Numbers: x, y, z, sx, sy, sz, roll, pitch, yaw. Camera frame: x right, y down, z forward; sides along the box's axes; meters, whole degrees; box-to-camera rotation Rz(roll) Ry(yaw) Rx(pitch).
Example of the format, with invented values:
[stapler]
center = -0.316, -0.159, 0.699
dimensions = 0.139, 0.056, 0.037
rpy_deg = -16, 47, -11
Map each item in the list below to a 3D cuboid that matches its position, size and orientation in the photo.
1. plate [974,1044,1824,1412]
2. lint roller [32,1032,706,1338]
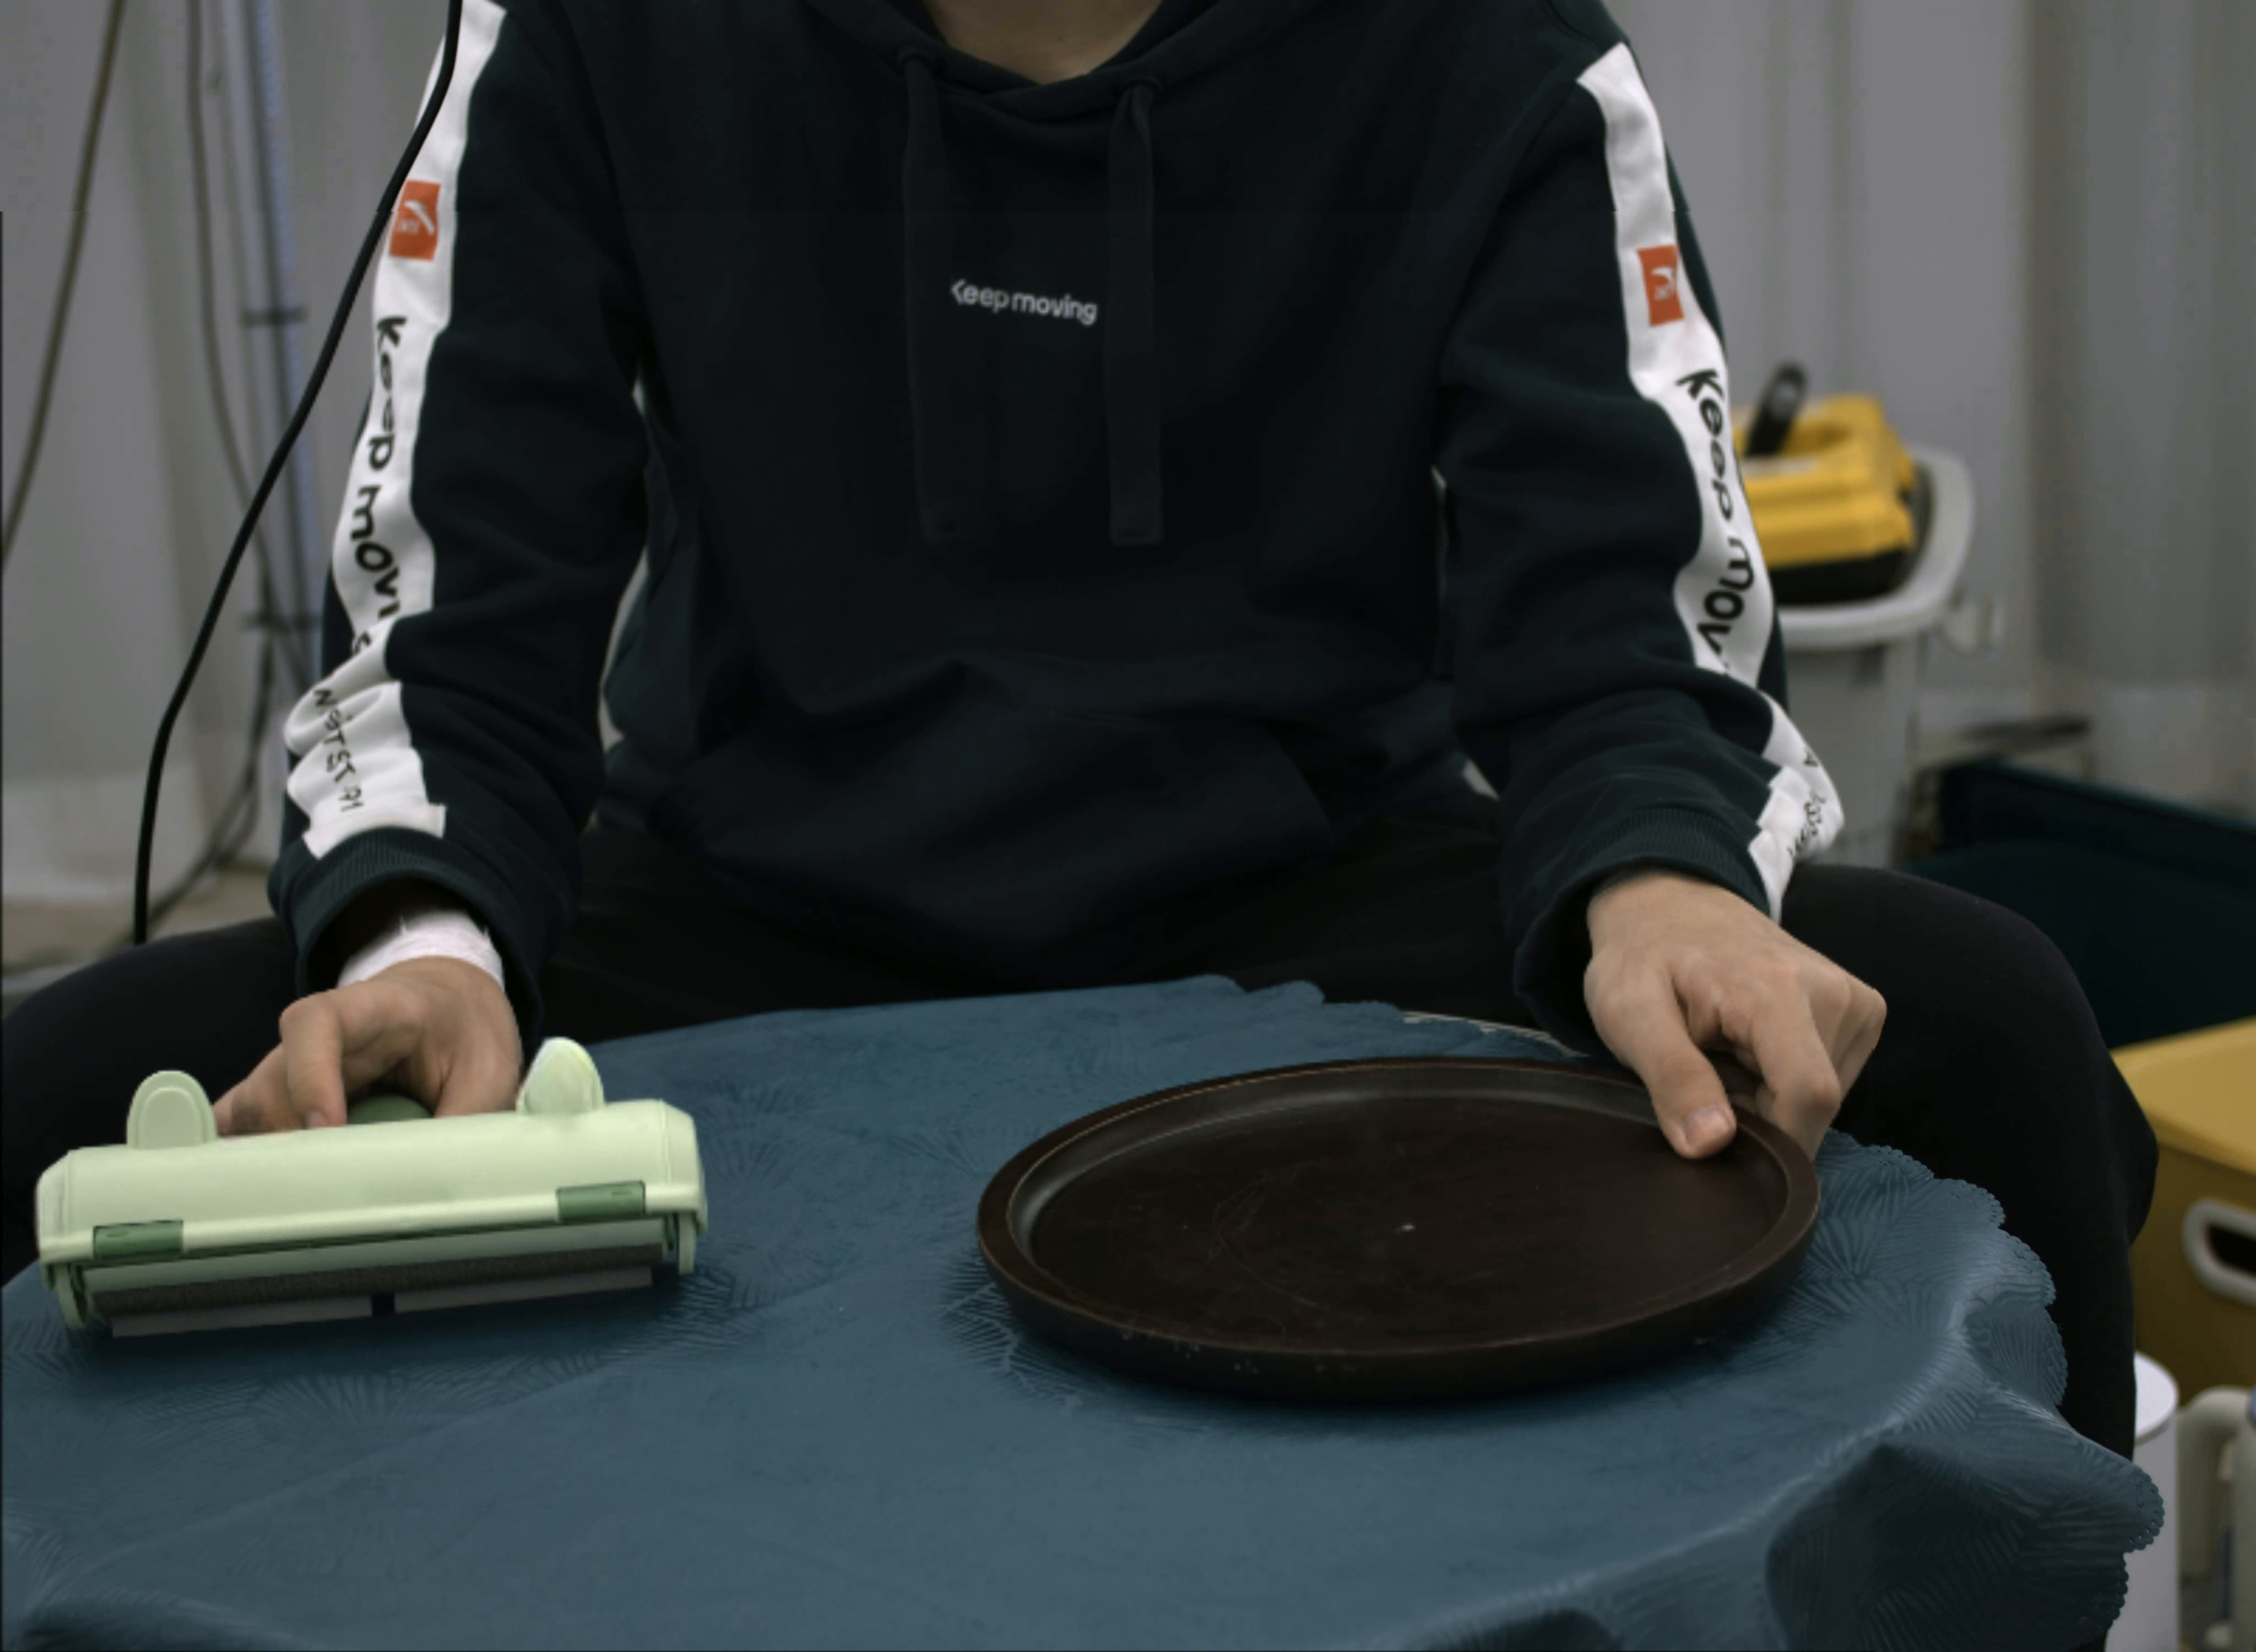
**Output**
[plate]
center = 0.080, 0.119, 1.626
dimensions = 0.254, 0.029, 0.257
rpy_deg = -5, 17, 1
[lint roller]
center = -0.233, 0.093, 1.686
dimensions = 0.198, 0.082, 0.185
rpy_deg = -6, 18, -5
